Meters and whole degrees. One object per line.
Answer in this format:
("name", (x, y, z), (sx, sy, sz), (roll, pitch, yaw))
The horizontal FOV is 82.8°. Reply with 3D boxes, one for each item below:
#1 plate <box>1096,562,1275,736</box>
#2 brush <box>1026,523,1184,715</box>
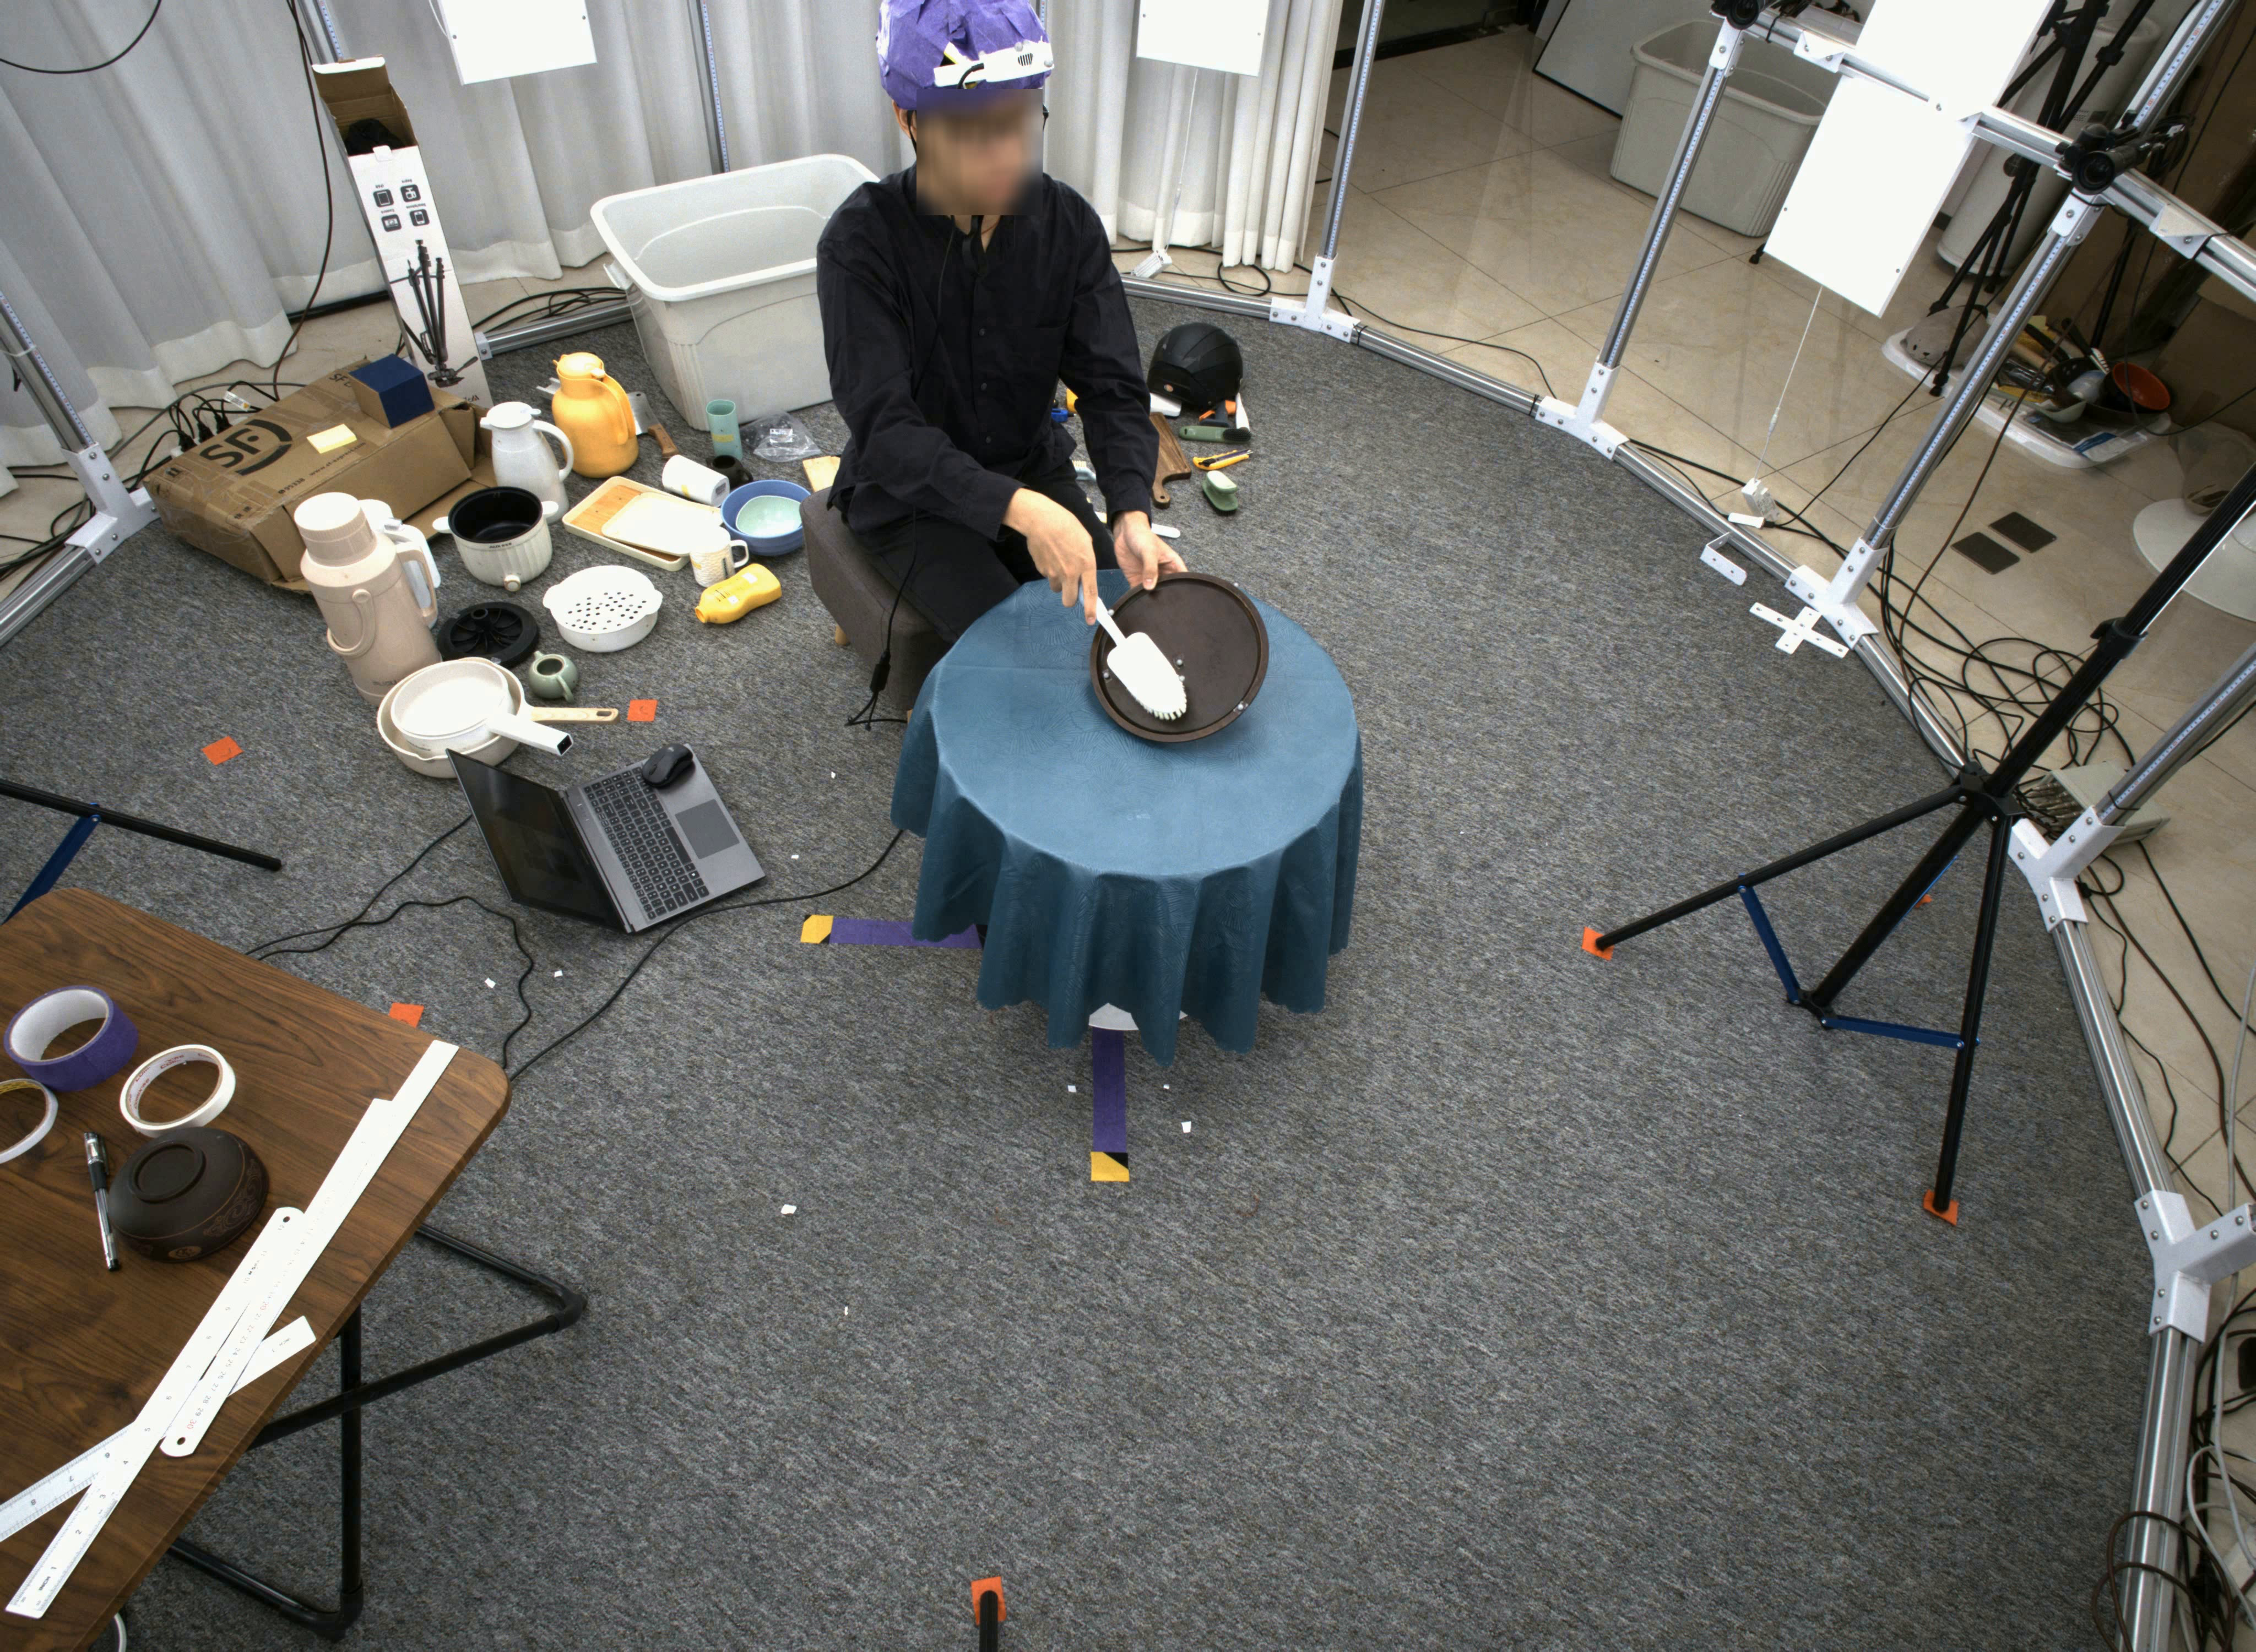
("plate", (0.080, -0.246, 1.792), (0.255, 0.028, 0.258), (-4, 74, 13))
("brush", (-0.029, -0.287, 1.784), (0.084, 0.083, 0.327), (-33, 82, -37))
